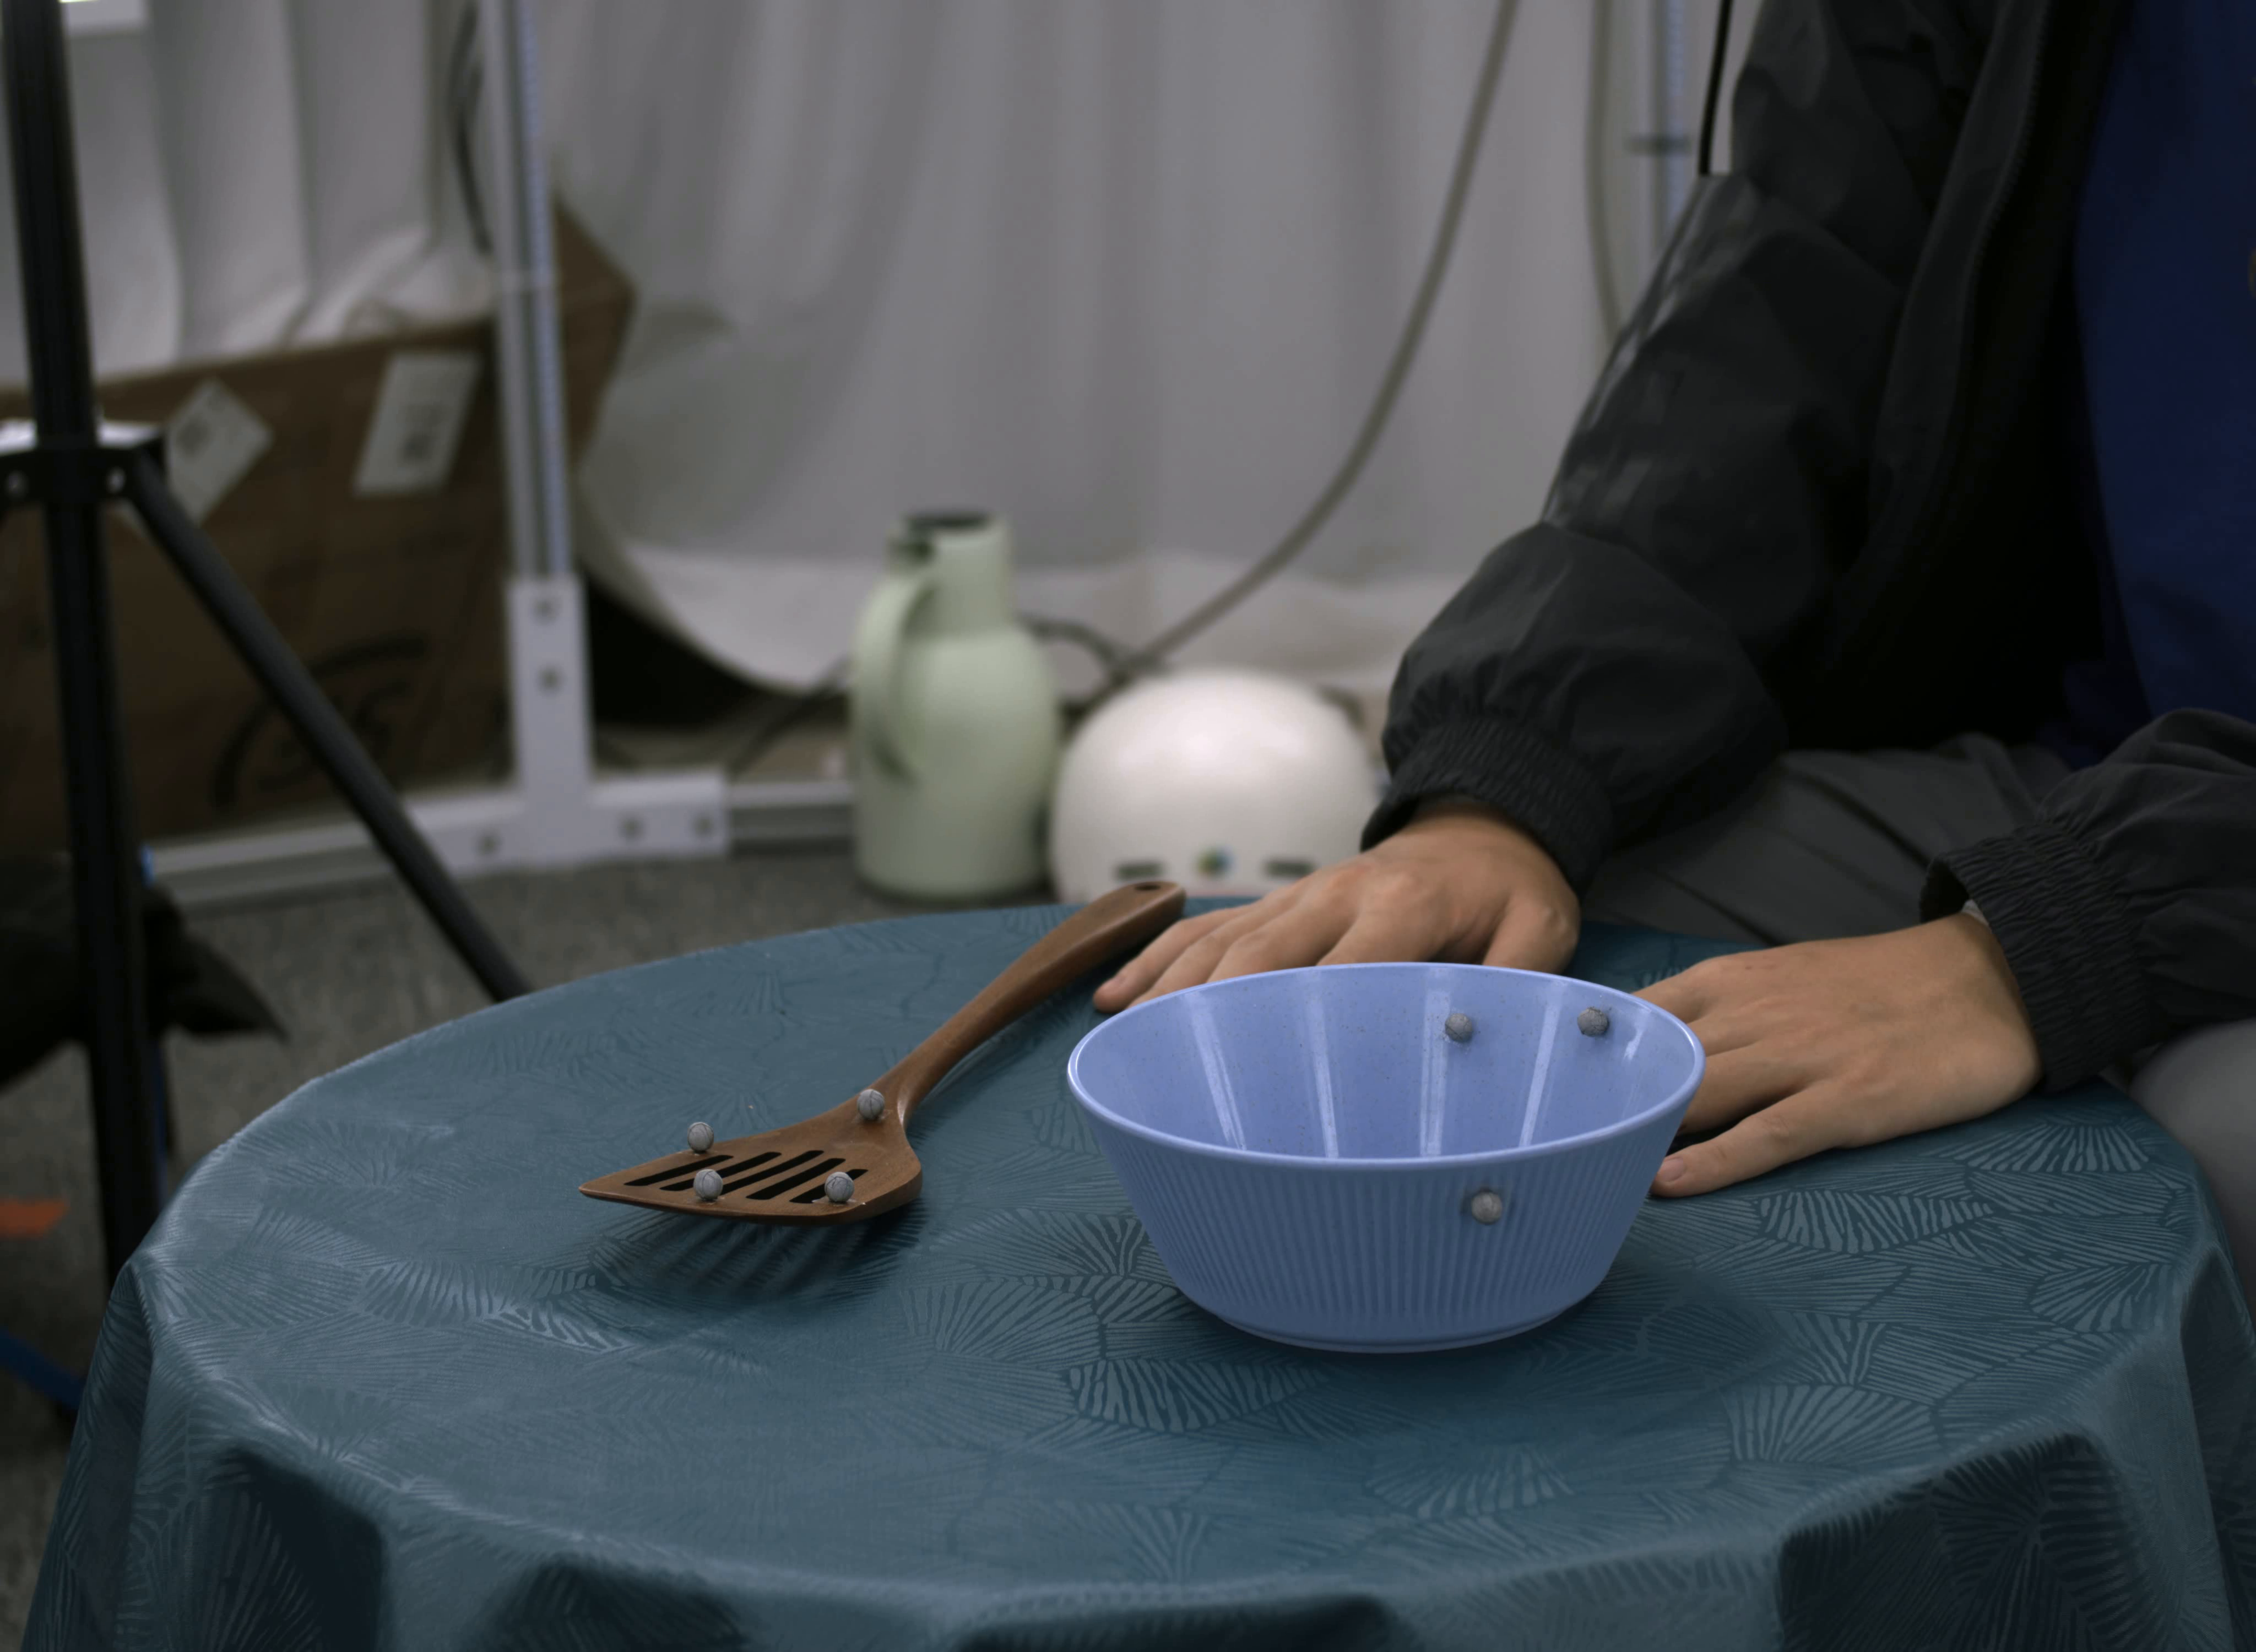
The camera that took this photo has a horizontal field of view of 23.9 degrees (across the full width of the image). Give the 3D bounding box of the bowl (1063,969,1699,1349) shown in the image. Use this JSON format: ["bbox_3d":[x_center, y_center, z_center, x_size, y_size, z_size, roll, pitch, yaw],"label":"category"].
[{"bbox_3d":[0.070,0.094,1.466,0.175,0.070,0.177,-2,15,-1],"label":"bowl"}]

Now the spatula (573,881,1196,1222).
[{"bbox_3d":[-0.055,0.070,1.663,0.086,0.024,0.381,5,16,22],"label":"spatula"}]
